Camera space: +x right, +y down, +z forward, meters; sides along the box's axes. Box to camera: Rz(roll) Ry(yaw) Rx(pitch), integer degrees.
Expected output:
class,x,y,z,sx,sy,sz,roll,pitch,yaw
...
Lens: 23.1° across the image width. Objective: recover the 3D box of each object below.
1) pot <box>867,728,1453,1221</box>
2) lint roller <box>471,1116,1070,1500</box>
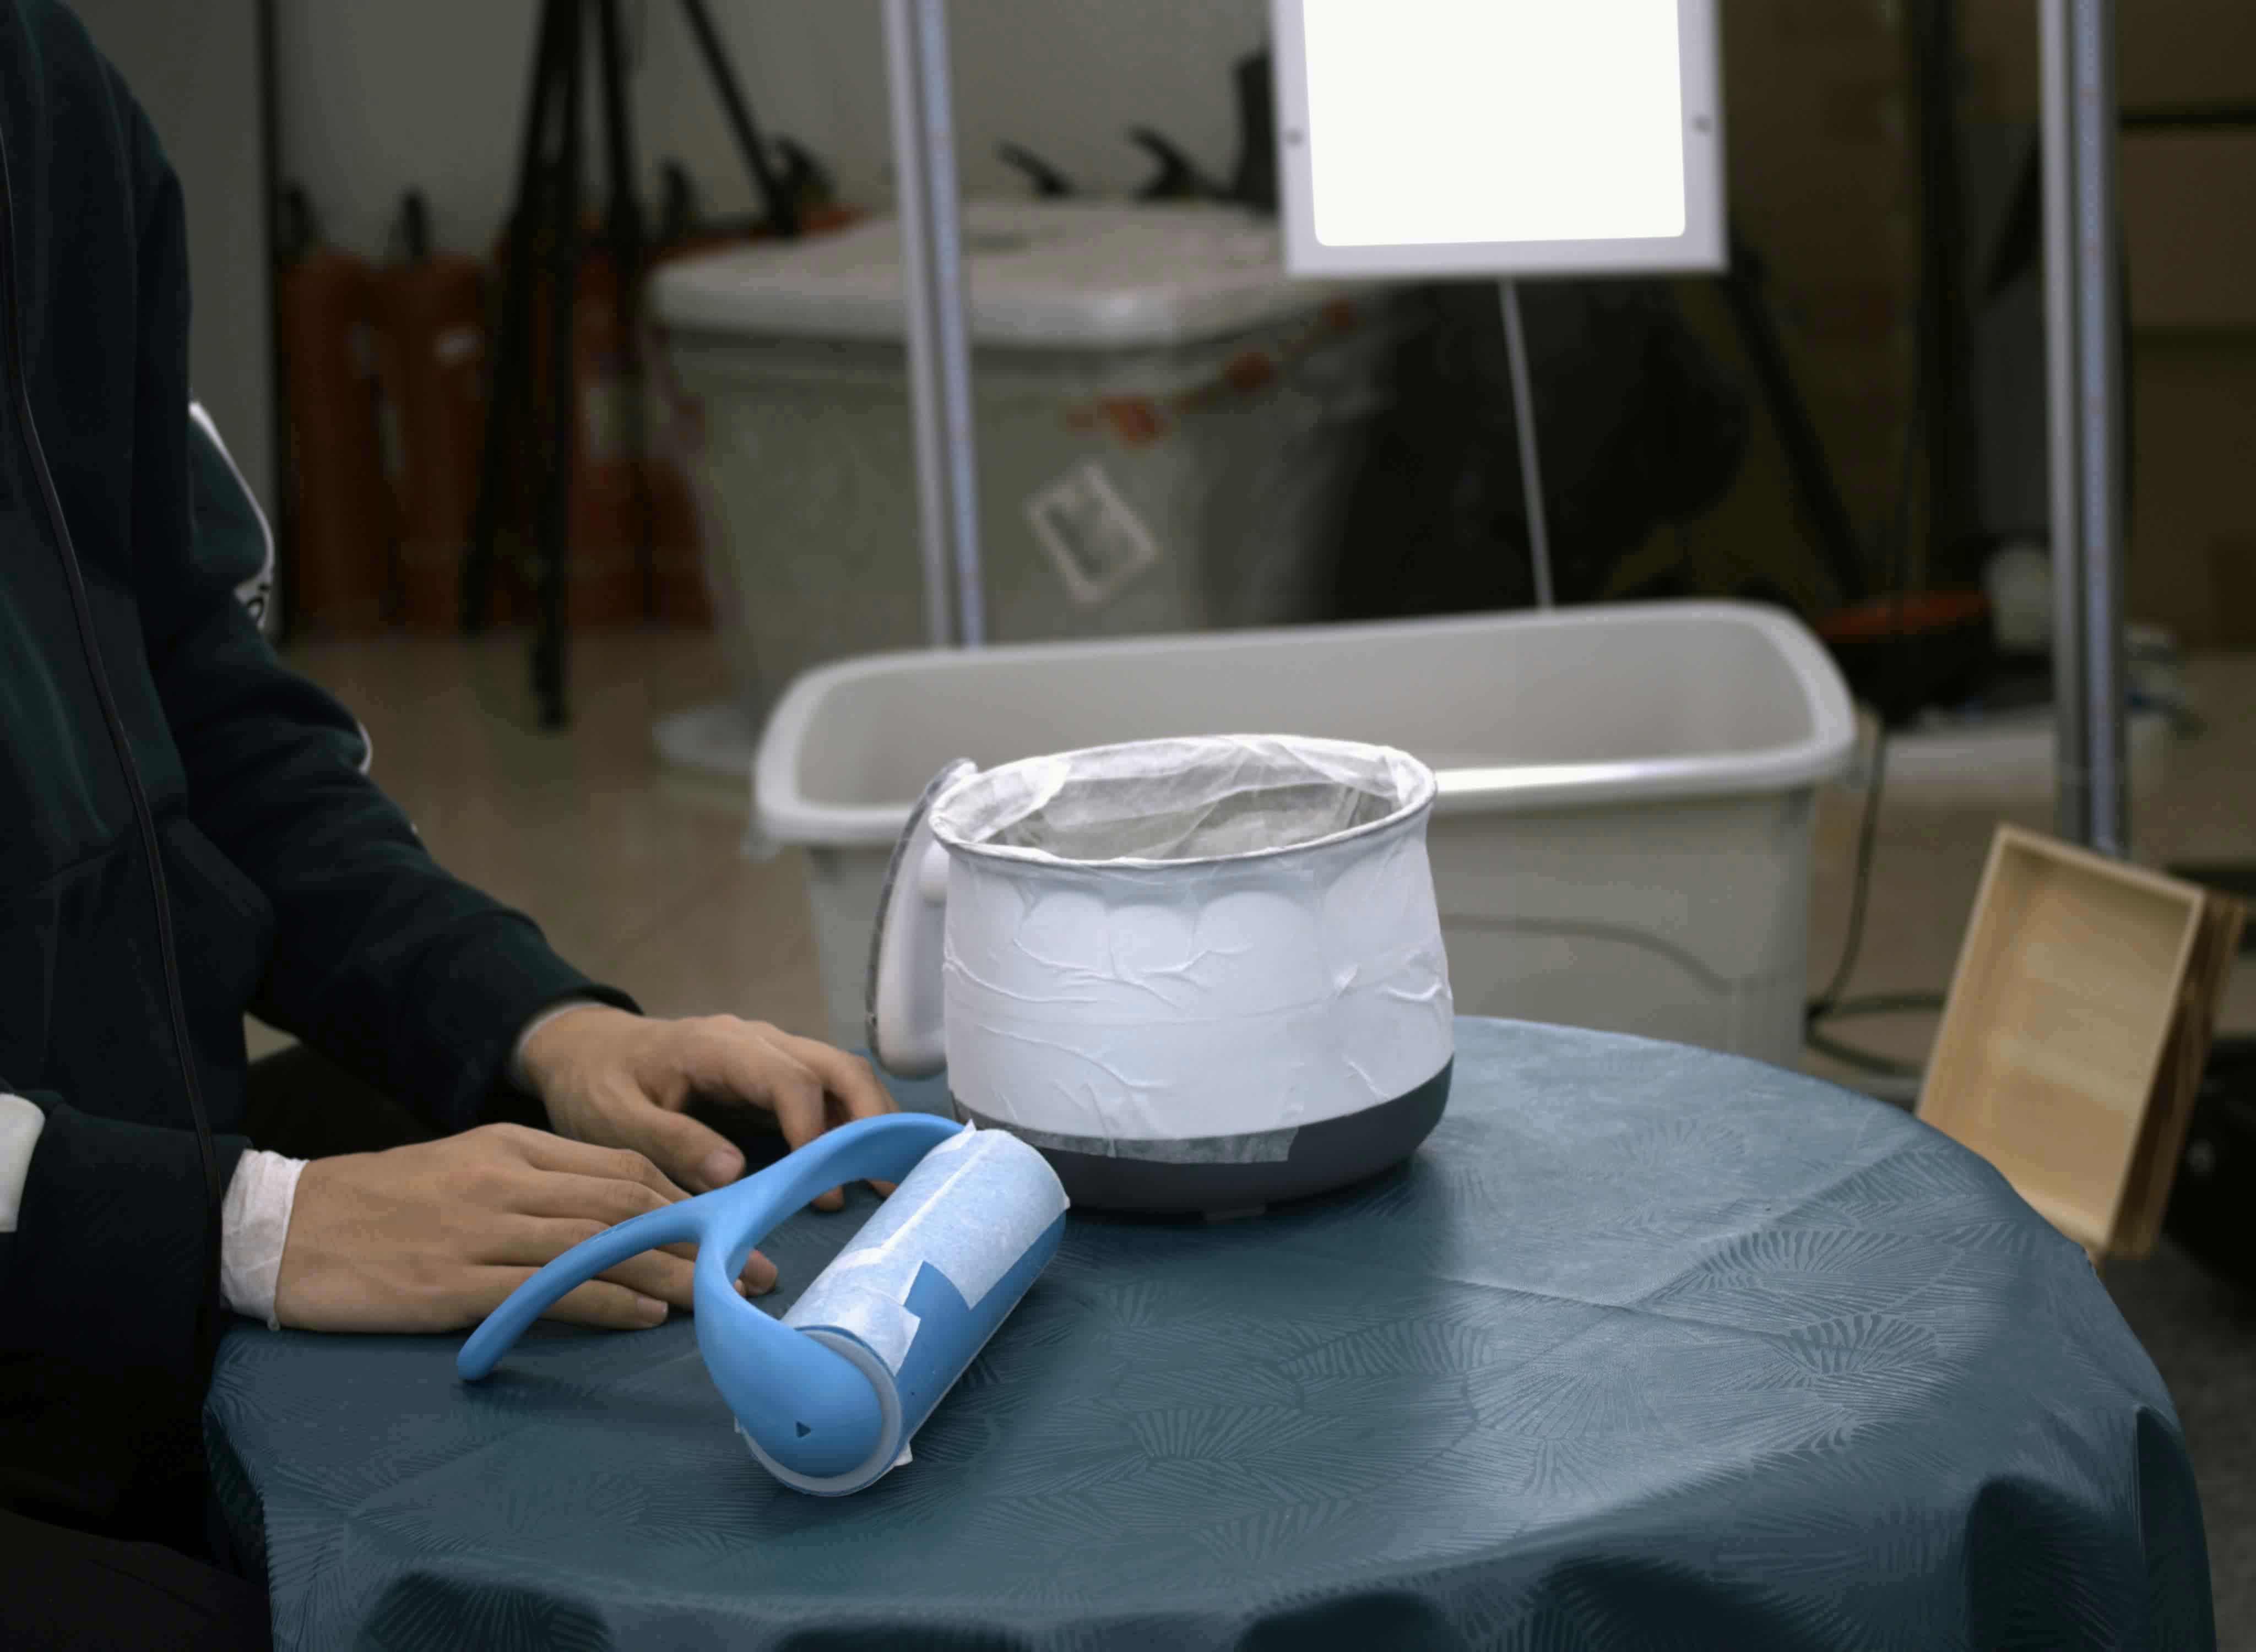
class,x,y,z,sx,sy,sz,roll,pitch,yaw
pot,0.002,0.047,1.922,0.238,0.137,0.174,8,18,38
lint roller,-0.123,0.150,1.729,0.181,0.068,0.226,-1,16,11
